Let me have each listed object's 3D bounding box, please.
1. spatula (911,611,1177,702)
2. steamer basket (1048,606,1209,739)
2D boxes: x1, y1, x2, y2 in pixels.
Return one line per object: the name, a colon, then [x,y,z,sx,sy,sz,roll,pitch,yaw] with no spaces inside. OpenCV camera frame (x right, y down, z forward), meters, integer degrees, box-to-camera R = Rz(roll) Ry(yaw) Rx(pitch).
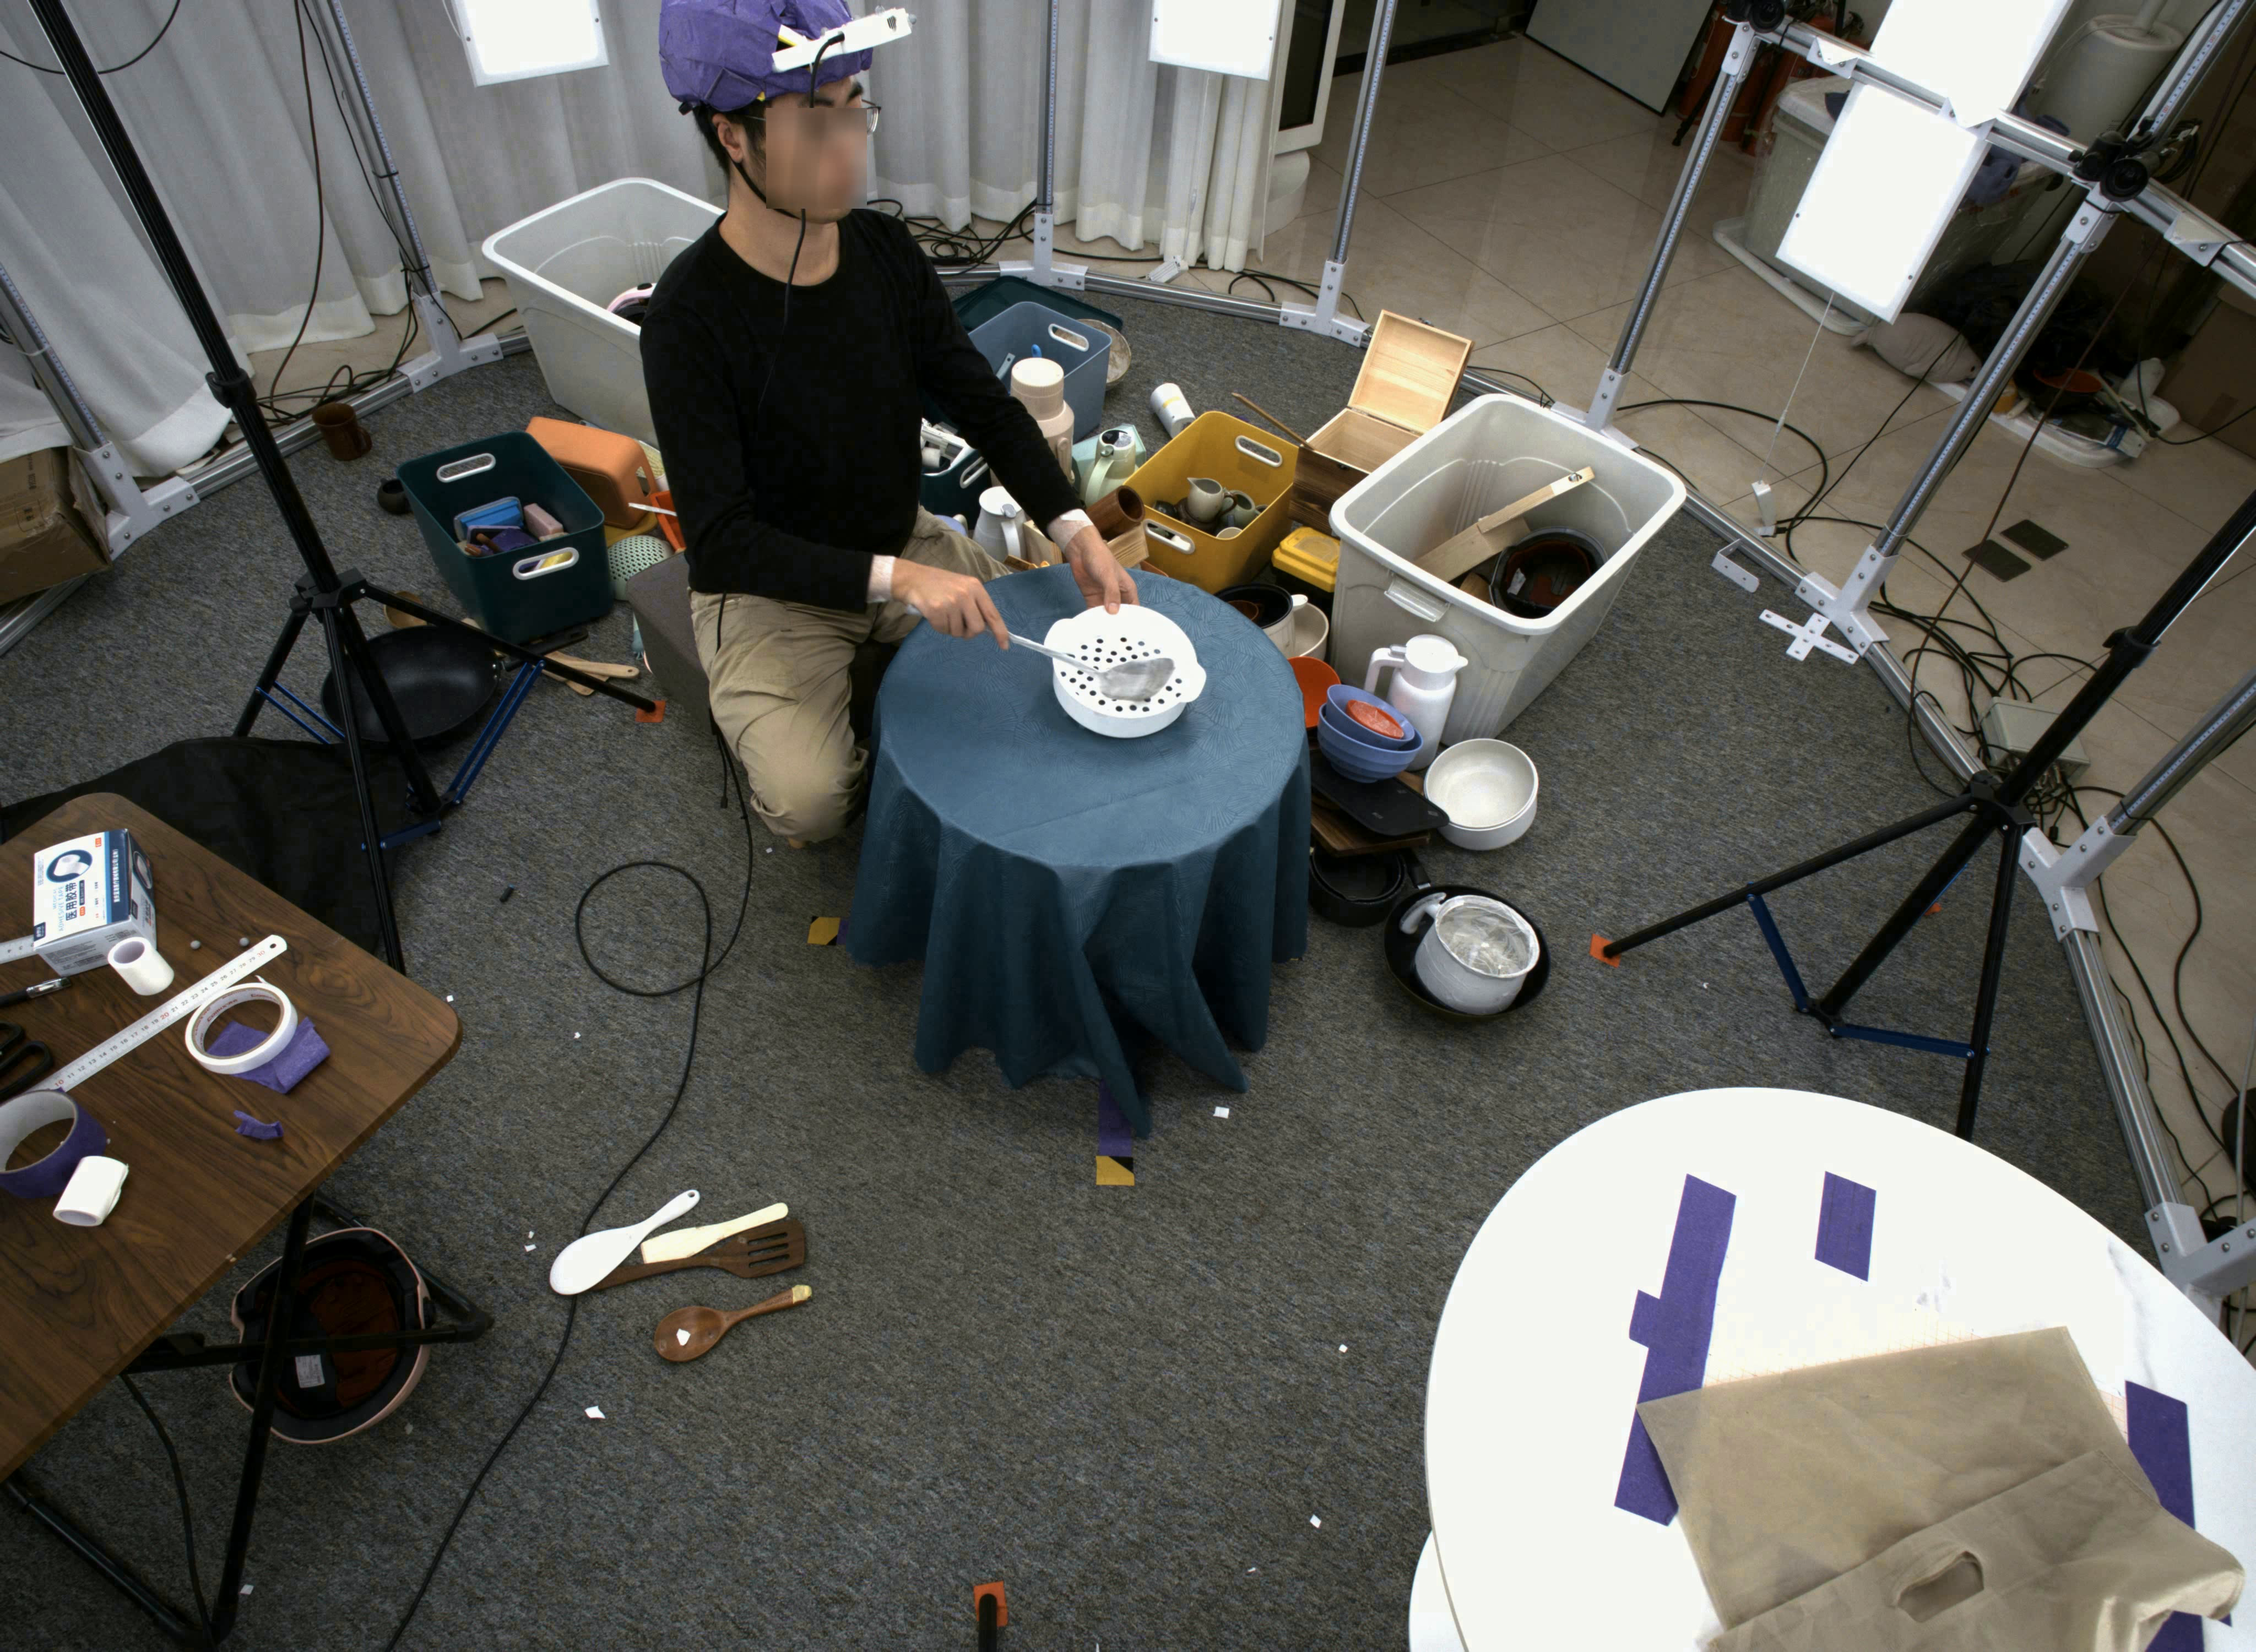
spatula: [-0.110,-0.238,1.731,0.363,0.097,0.046,18,53,-12]
steamer basket: [-0.002,-0.215,1.800,0.231,0.067,0.206,21,56,8]
